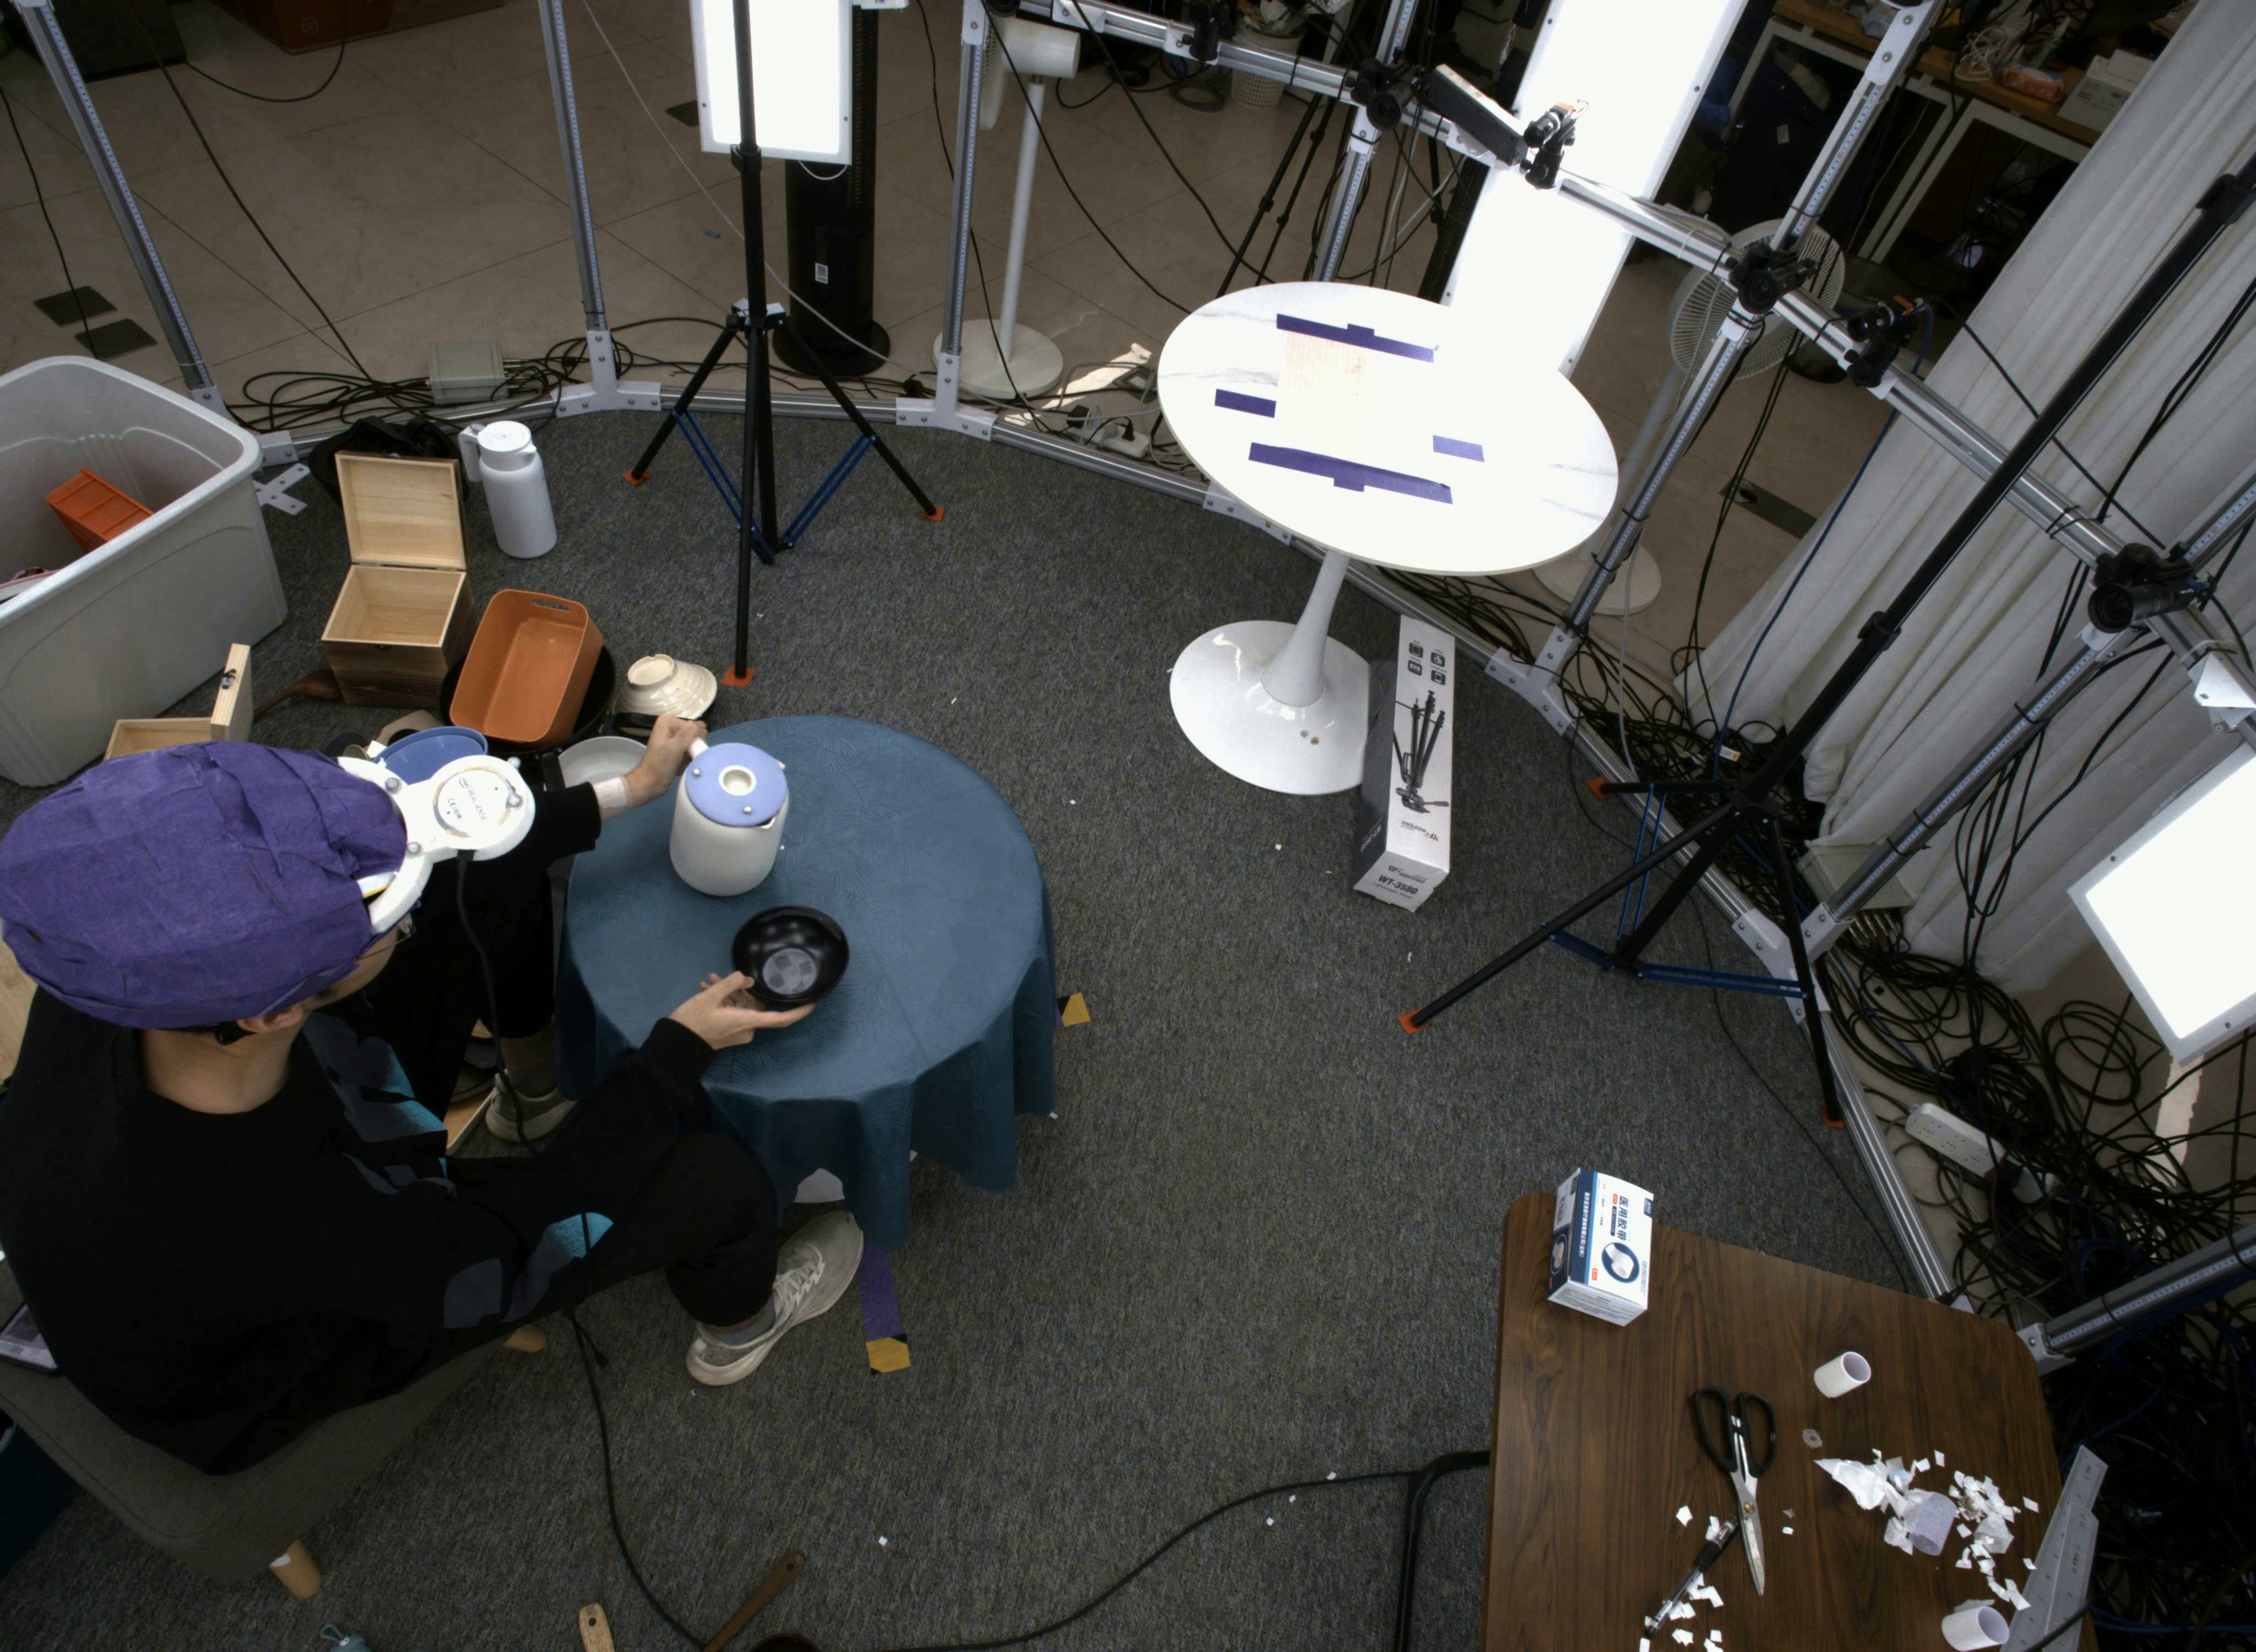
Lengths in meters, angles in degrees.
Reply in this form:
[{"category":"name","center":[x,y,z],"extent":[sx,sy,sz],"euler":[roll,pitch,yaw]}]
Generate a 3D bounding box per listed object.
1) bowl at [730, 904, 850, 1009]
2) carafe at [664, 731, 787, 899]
[{"category":"bowl","center":[-0.404,0.162,1.554],"extent":[0.140,0.051,0.137],"euler":[8,52,-9]},{"category":"carafe","center":[-0.510,-0.026,1.597],"extent":[0.189,0.184,0.132],"euler":[46,51,10]}]
